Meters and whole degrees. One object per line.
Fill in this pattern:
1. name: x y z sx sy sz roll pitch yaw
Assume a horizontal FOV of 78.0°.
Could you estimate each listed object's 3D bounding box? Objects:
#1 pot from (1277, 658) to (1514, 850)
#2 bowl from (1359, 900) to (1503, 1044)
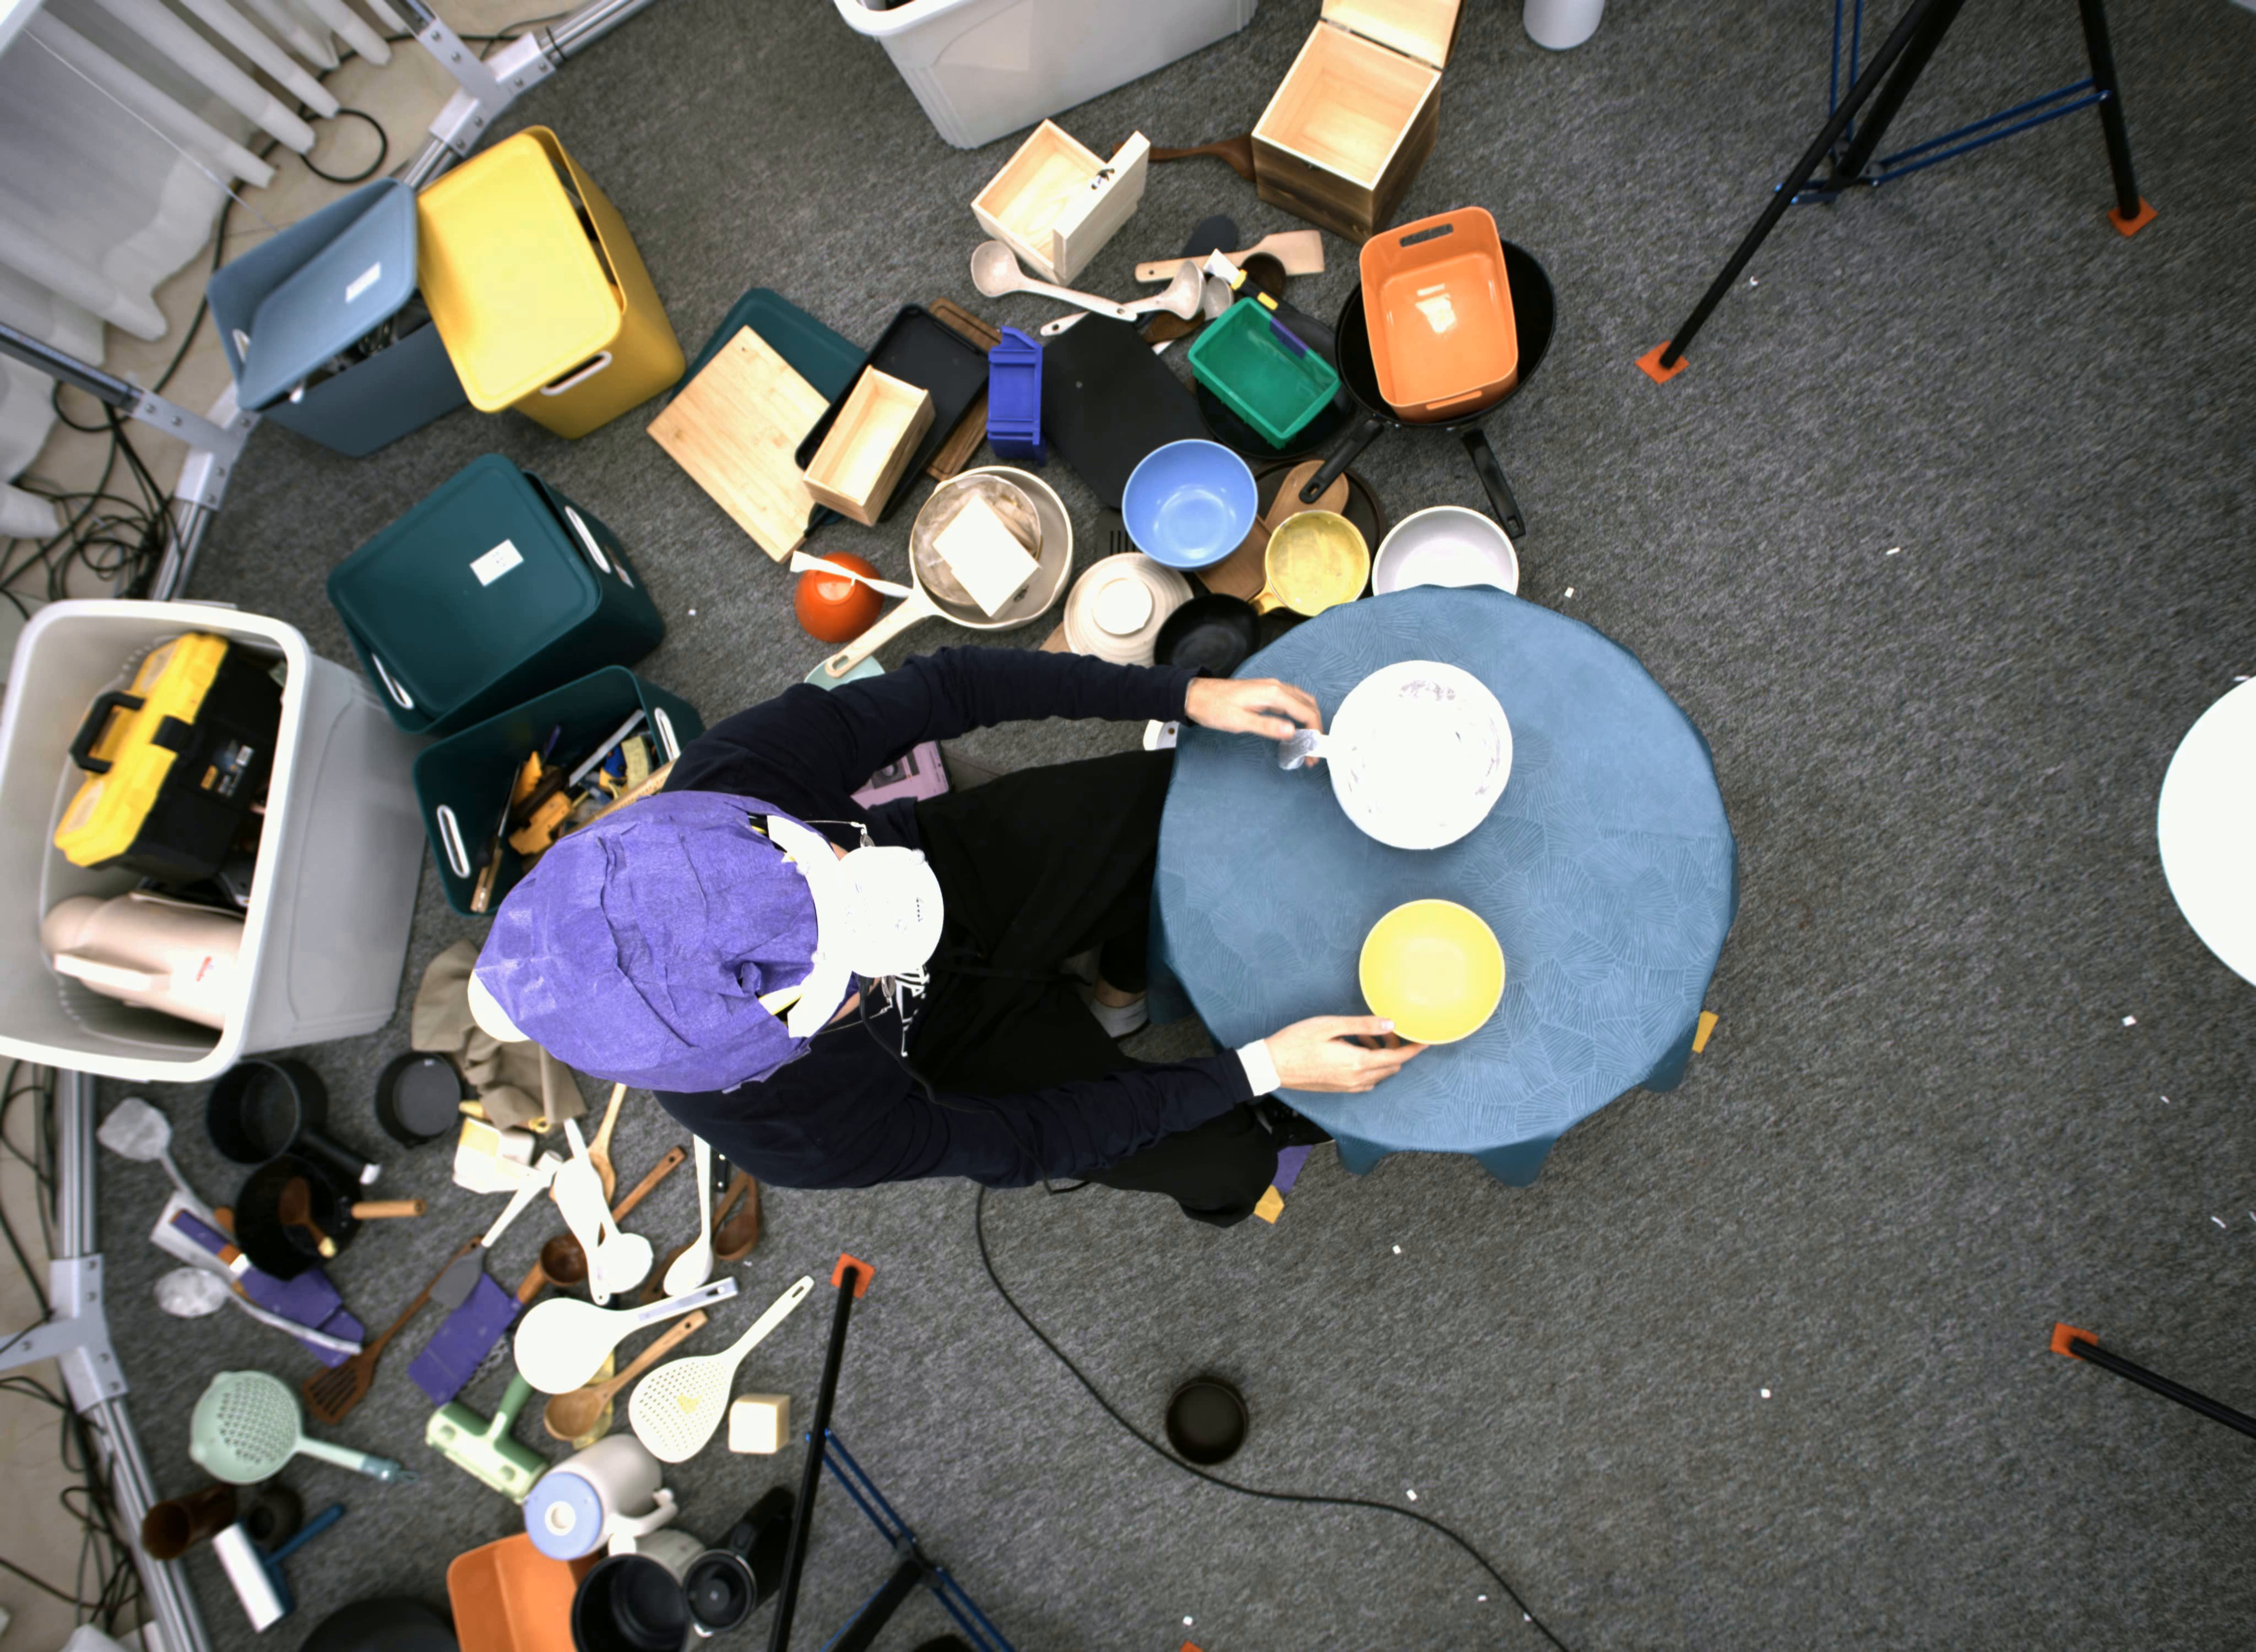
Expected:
1. pot: 0.266 -0.071 1.399 0.234 0.137 0.177 5 84 10
2. bowl: 0.309 0.149 1.416 0.146 0.060 0.144 -1 85 10
